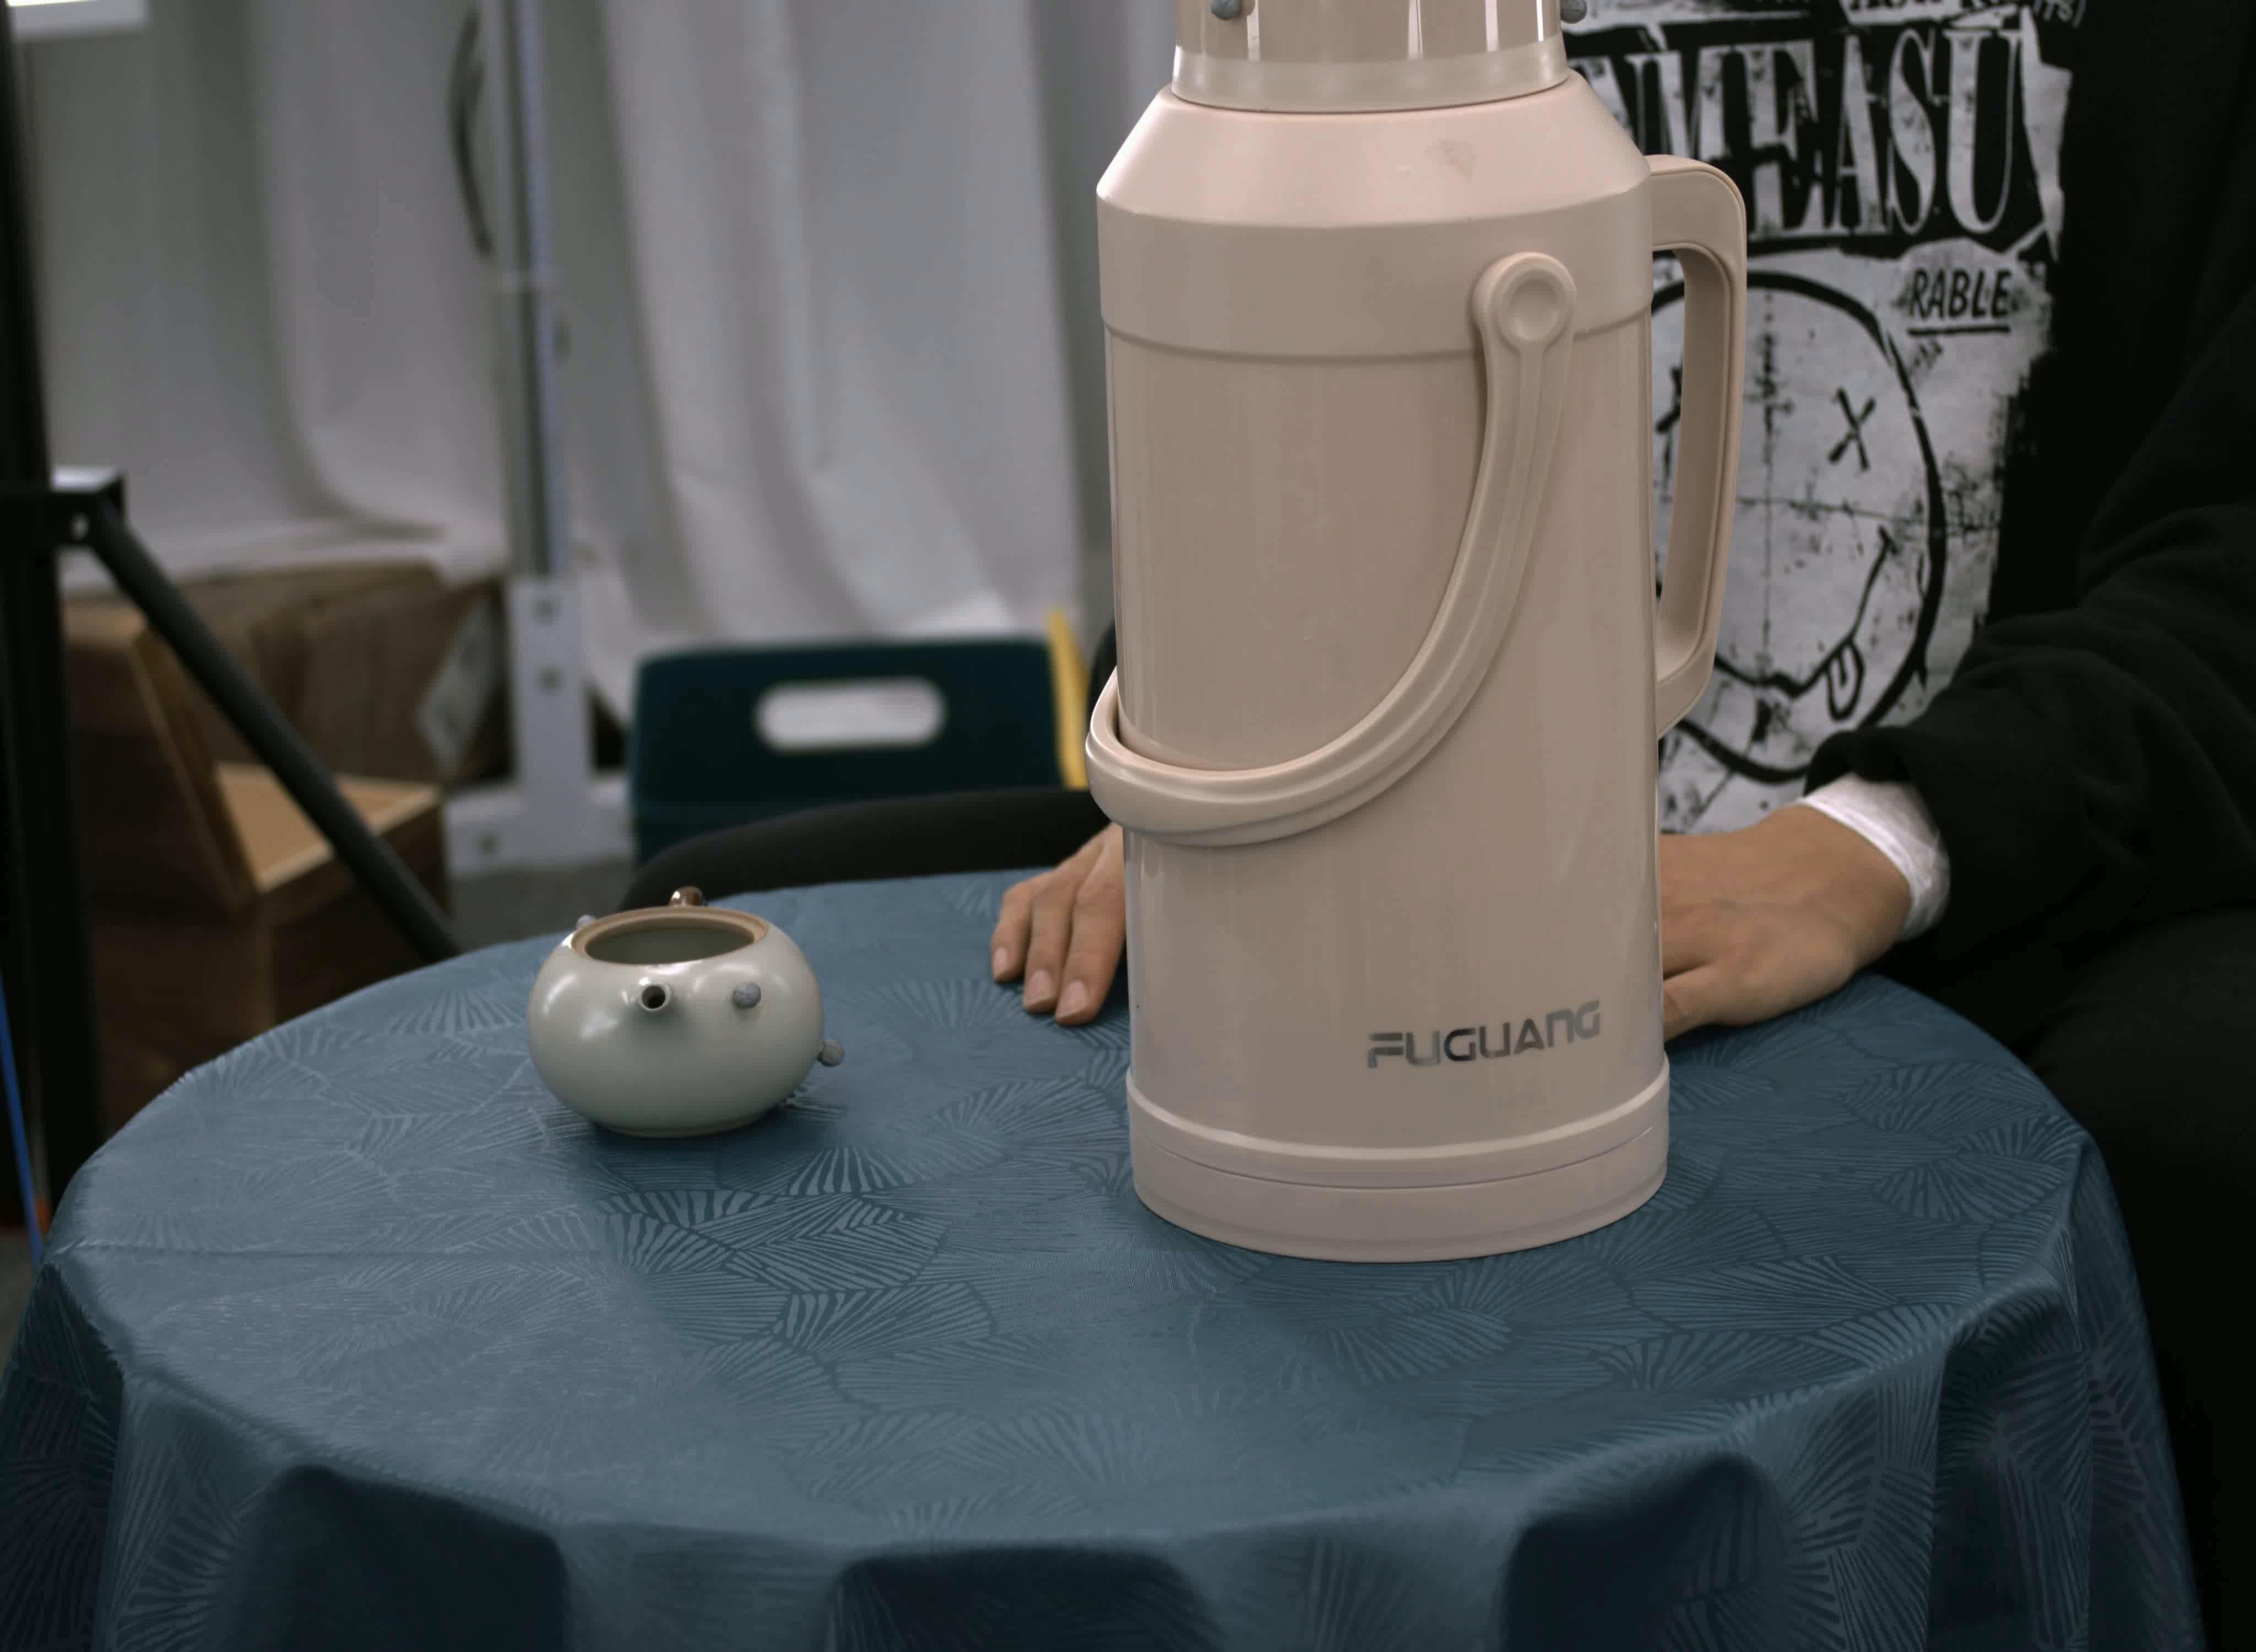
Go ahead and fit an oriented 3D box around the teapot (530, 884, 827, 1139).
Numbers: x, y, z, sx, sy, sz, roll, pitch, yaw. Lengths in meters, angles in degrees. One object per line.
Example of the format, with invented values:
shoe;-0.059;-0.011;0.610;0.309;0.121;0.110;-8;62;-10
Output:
teapot;-0.138;0.057;1.650;0.091;0.059;0.128;-5;17;1

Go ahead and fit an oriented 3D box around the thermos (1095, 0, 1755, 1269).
thermos;0.088;-0.090;1.515;0.203;0.406;0.179;-10;15;-25
